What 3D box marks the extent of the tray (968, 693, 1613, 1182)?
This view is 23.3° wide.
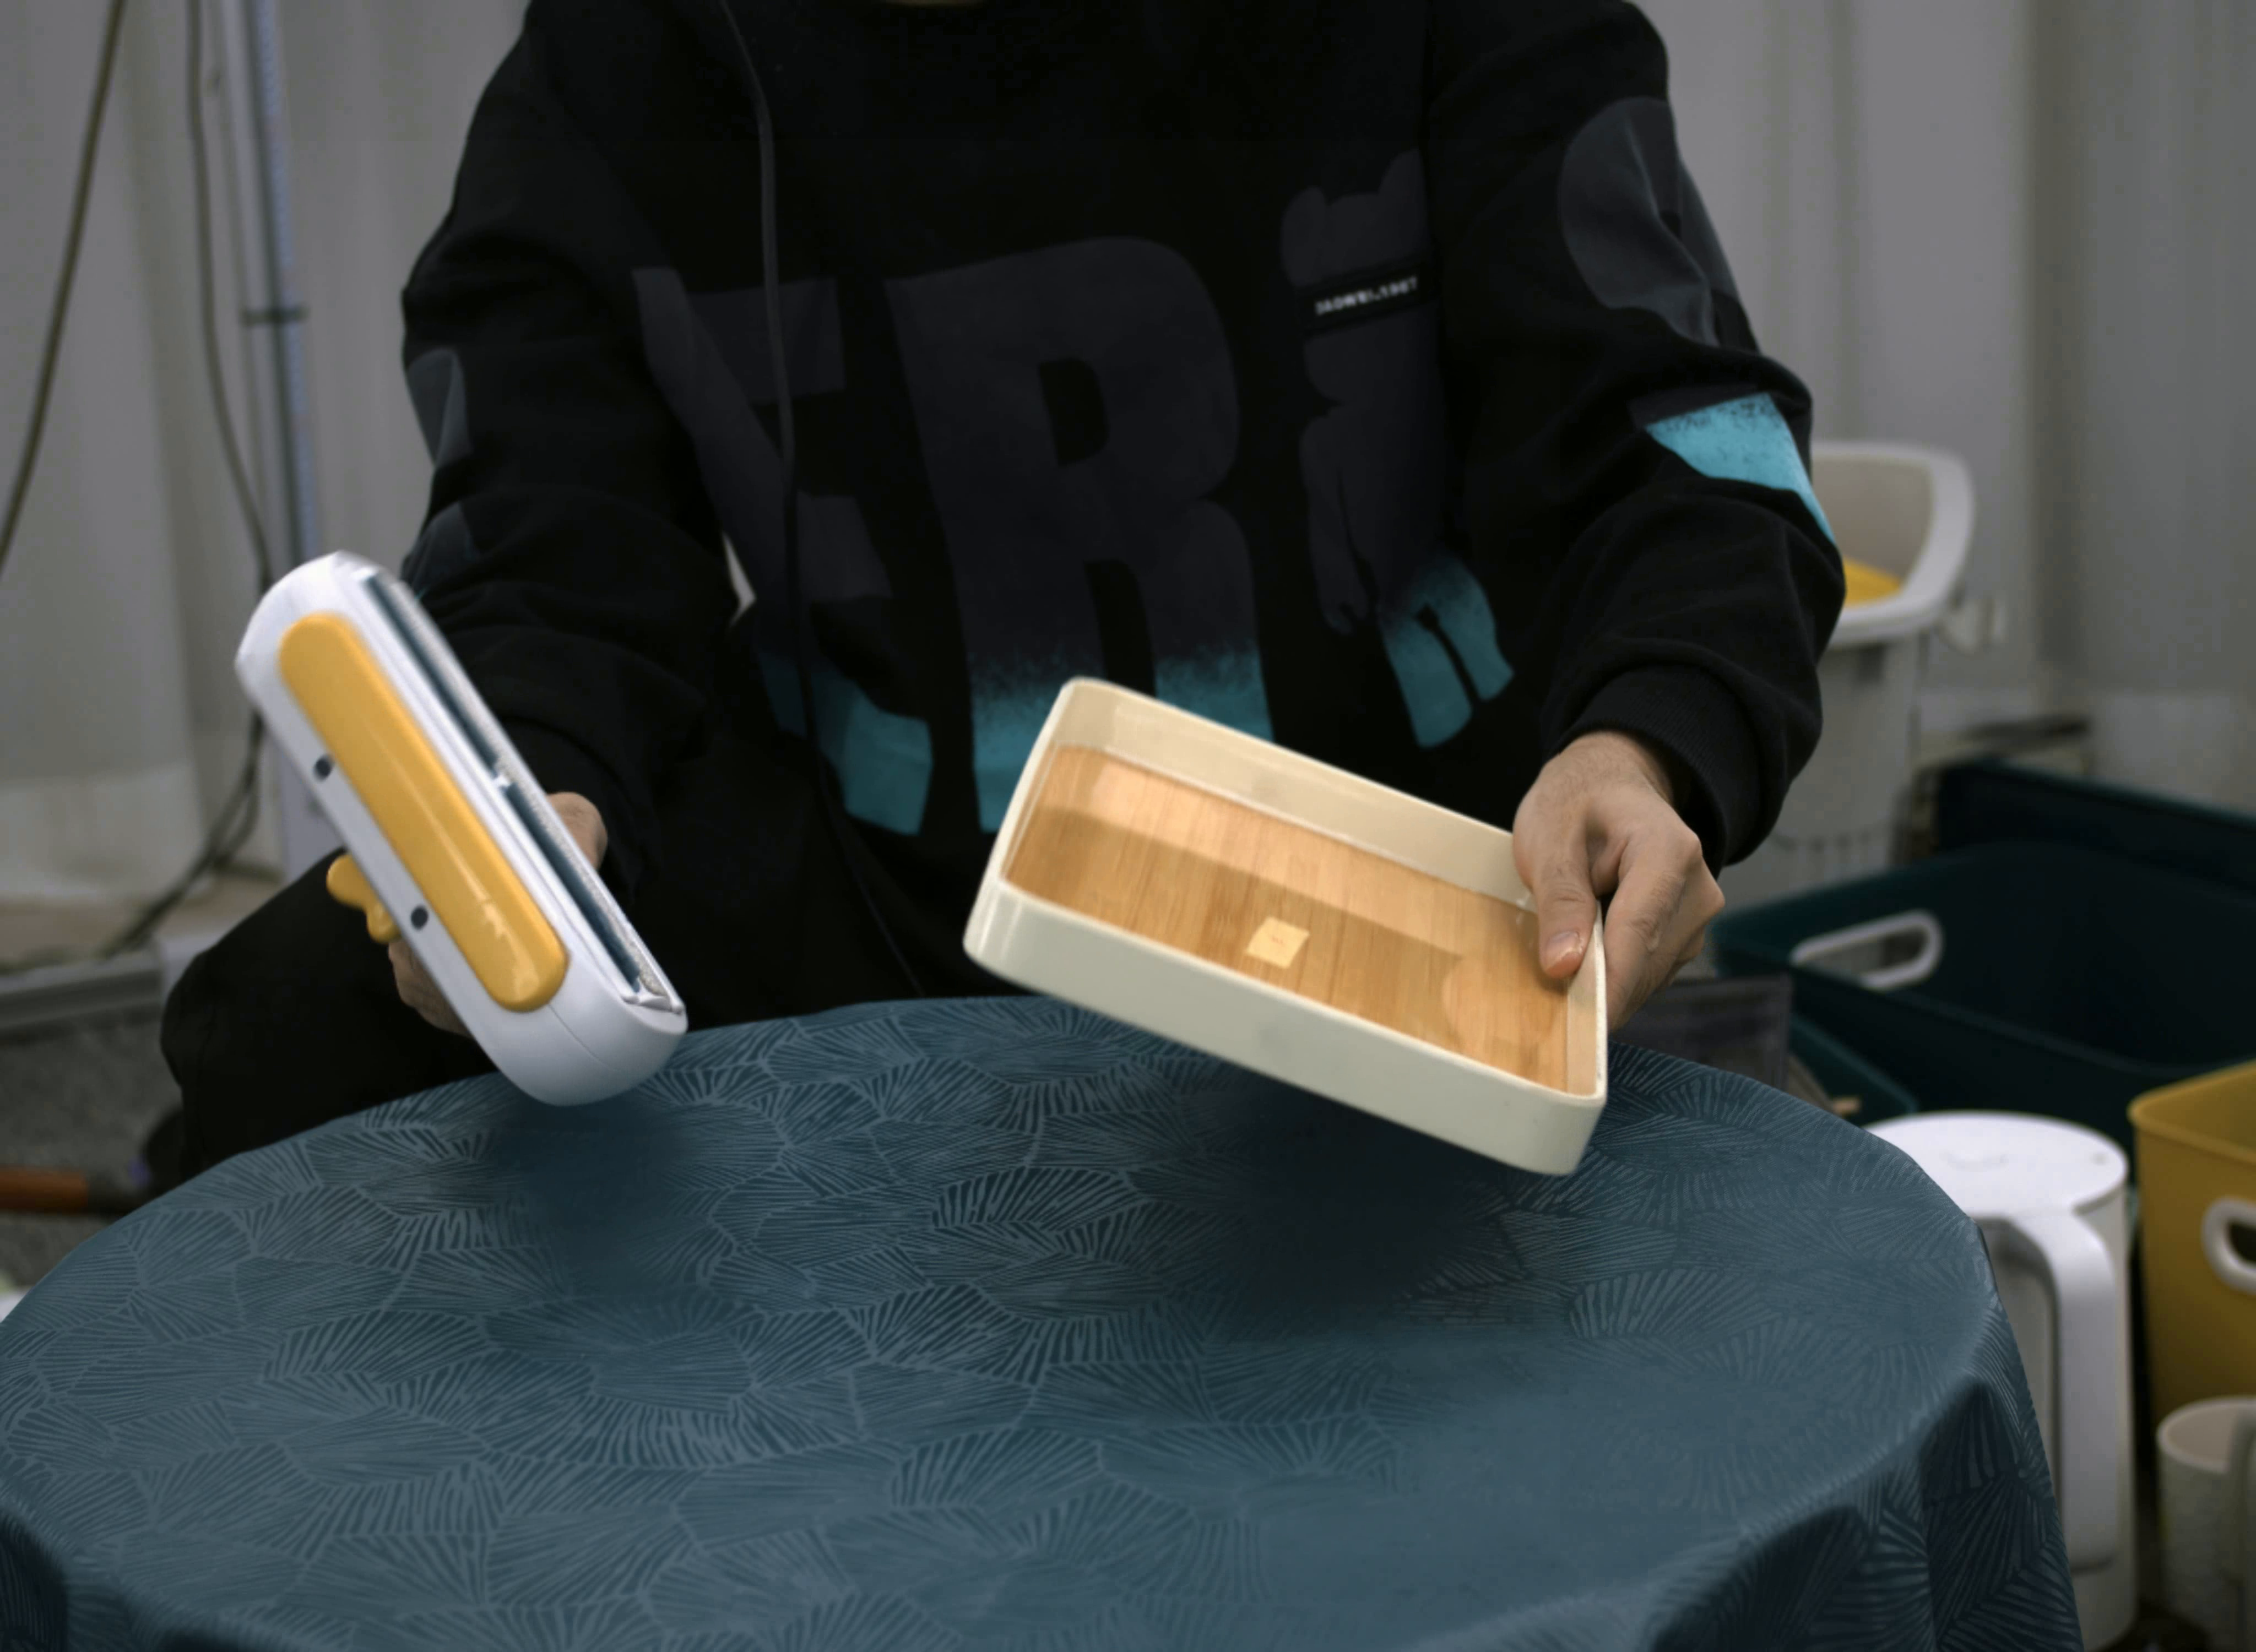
[{"bbox_3d":[0.055,0.029,1.690,0.191,0.027,0.302,20,14,0],"label":"tray"}]

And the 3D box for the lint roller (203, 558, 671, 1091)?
[{"bbox_3d":[-0.199,0.018,1.717,0.194,0.074,0.191,47,2,21],"label":"lint roller"}]
